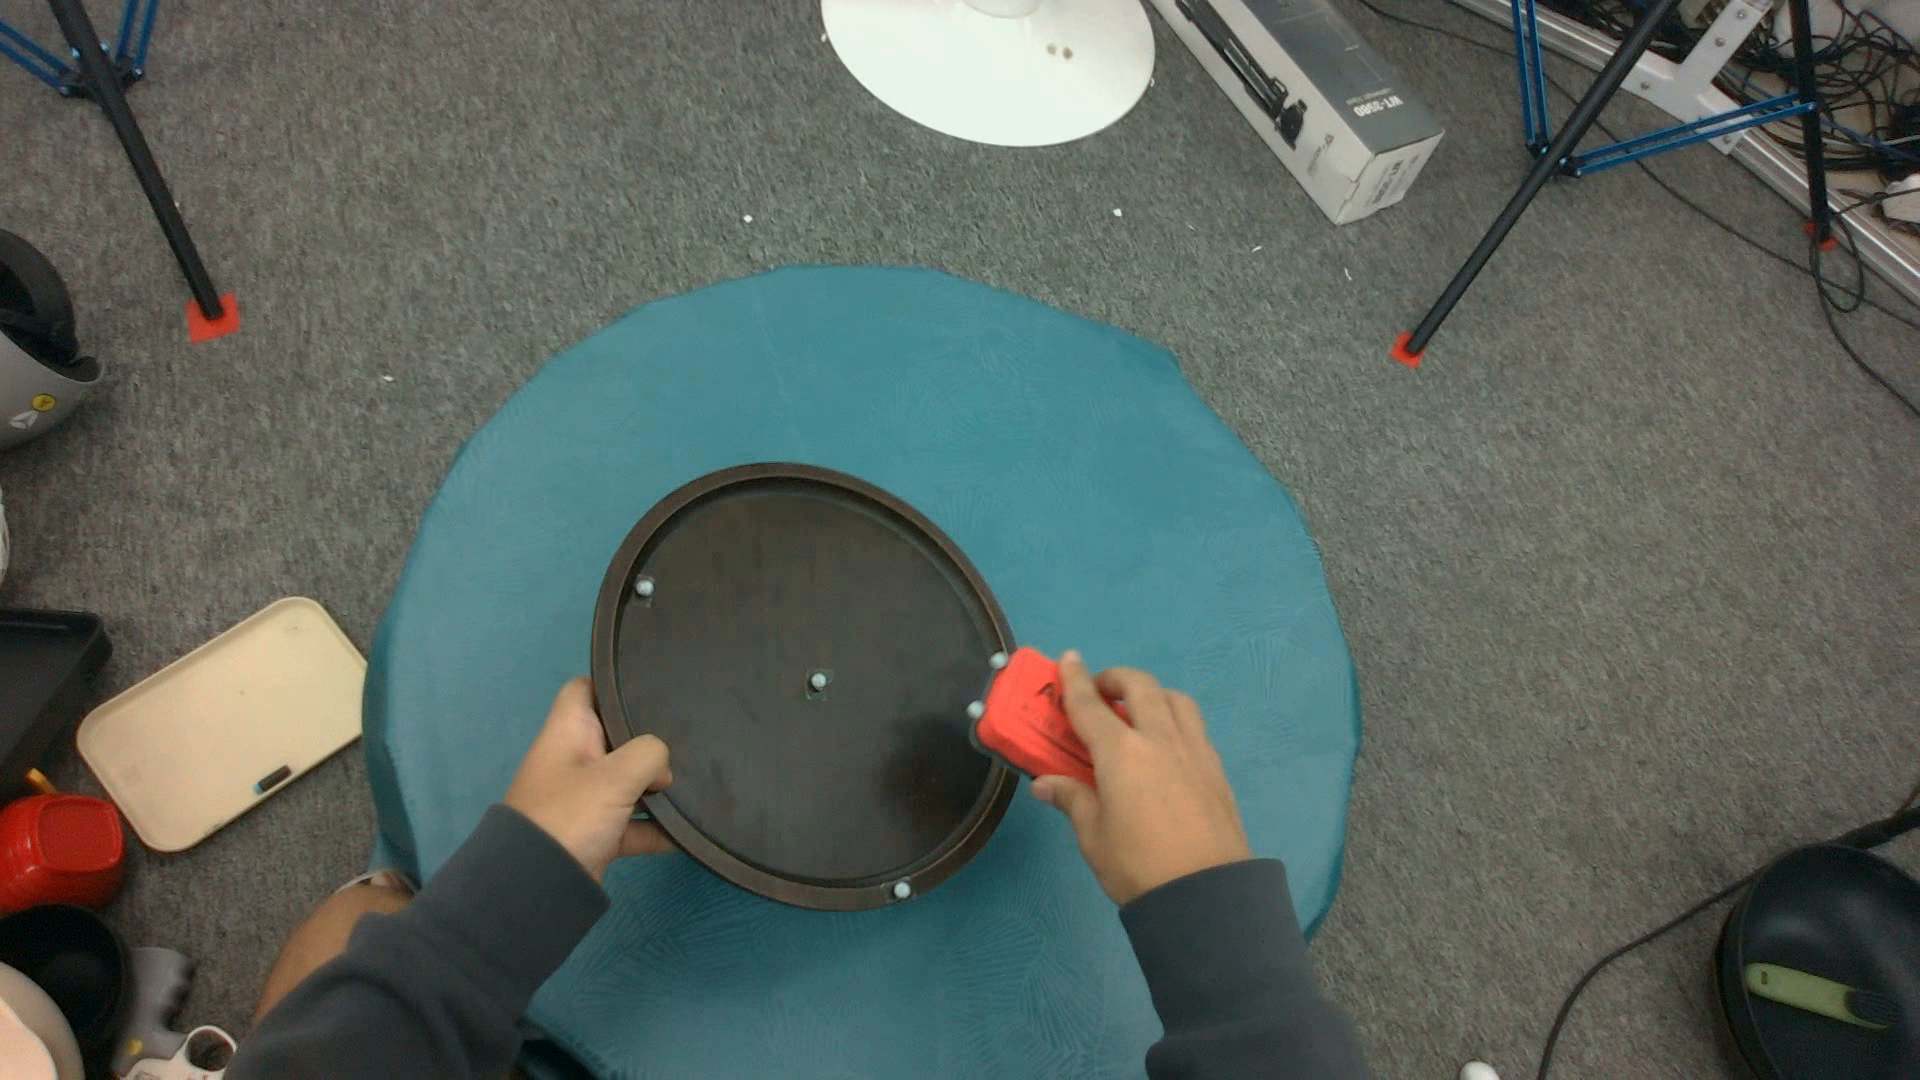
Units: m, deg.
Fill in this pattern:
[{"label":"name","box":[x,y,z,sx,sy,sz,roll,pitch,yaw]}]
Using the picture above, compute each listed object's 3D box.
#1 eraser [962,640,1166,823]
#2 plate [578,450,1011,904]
[{"label":"eraser","box":[0.056,0.100,0.720,0.108,0.023,0.059,31,45,-11]},{"label":"plate","box":[-0.080,0.067,0.733,0.255,0.029,0.256,16,58,-28]}]
